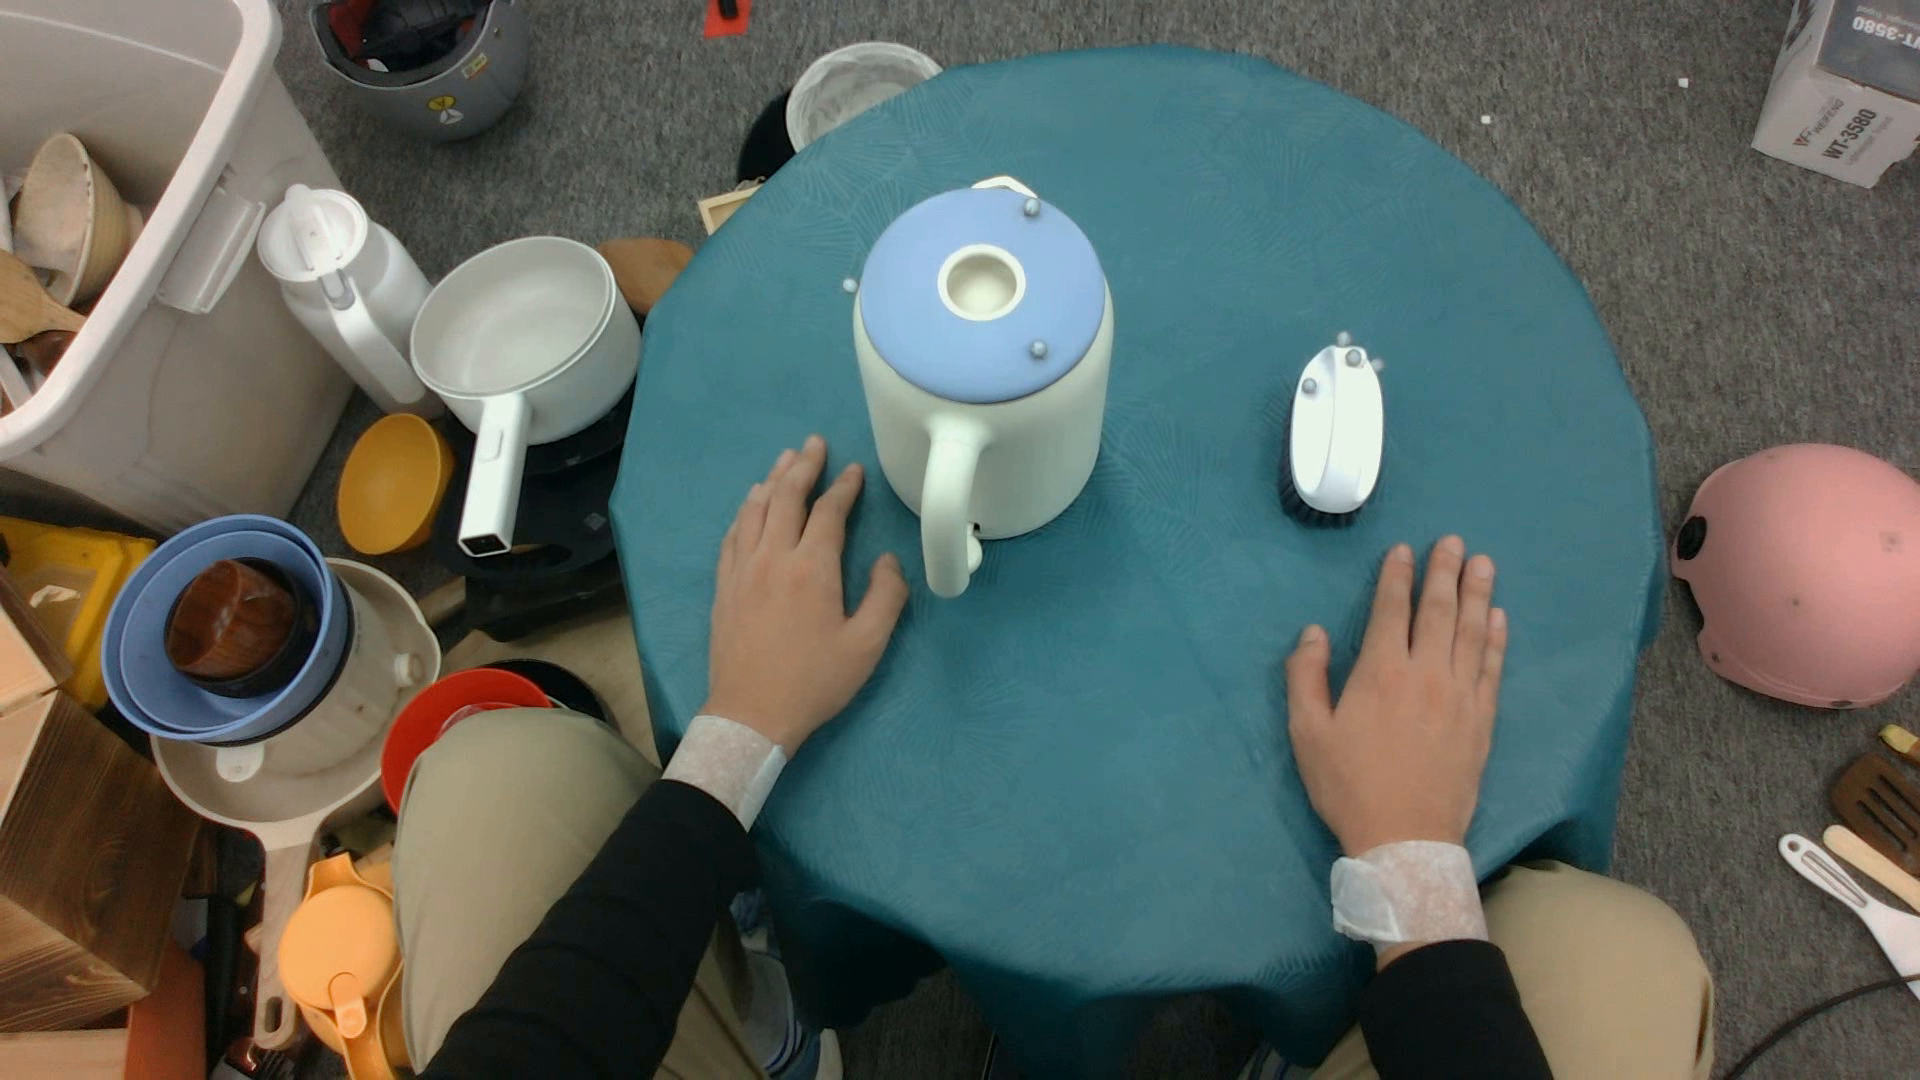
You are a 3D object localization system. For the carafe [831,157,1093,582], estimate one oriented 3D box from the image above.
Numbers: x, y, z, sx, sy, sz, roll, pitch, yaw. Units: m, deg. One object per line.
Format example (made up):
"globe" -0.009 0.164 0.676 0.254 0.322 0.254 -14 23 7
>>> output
"carafe" -0.002 -0.076 0.726 0.132 0.182 0.191 8 71 4

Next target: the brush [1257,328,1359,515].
"brush" 0.200 -0.073 0.774 0.050 0.072 0.099 9 69 5
